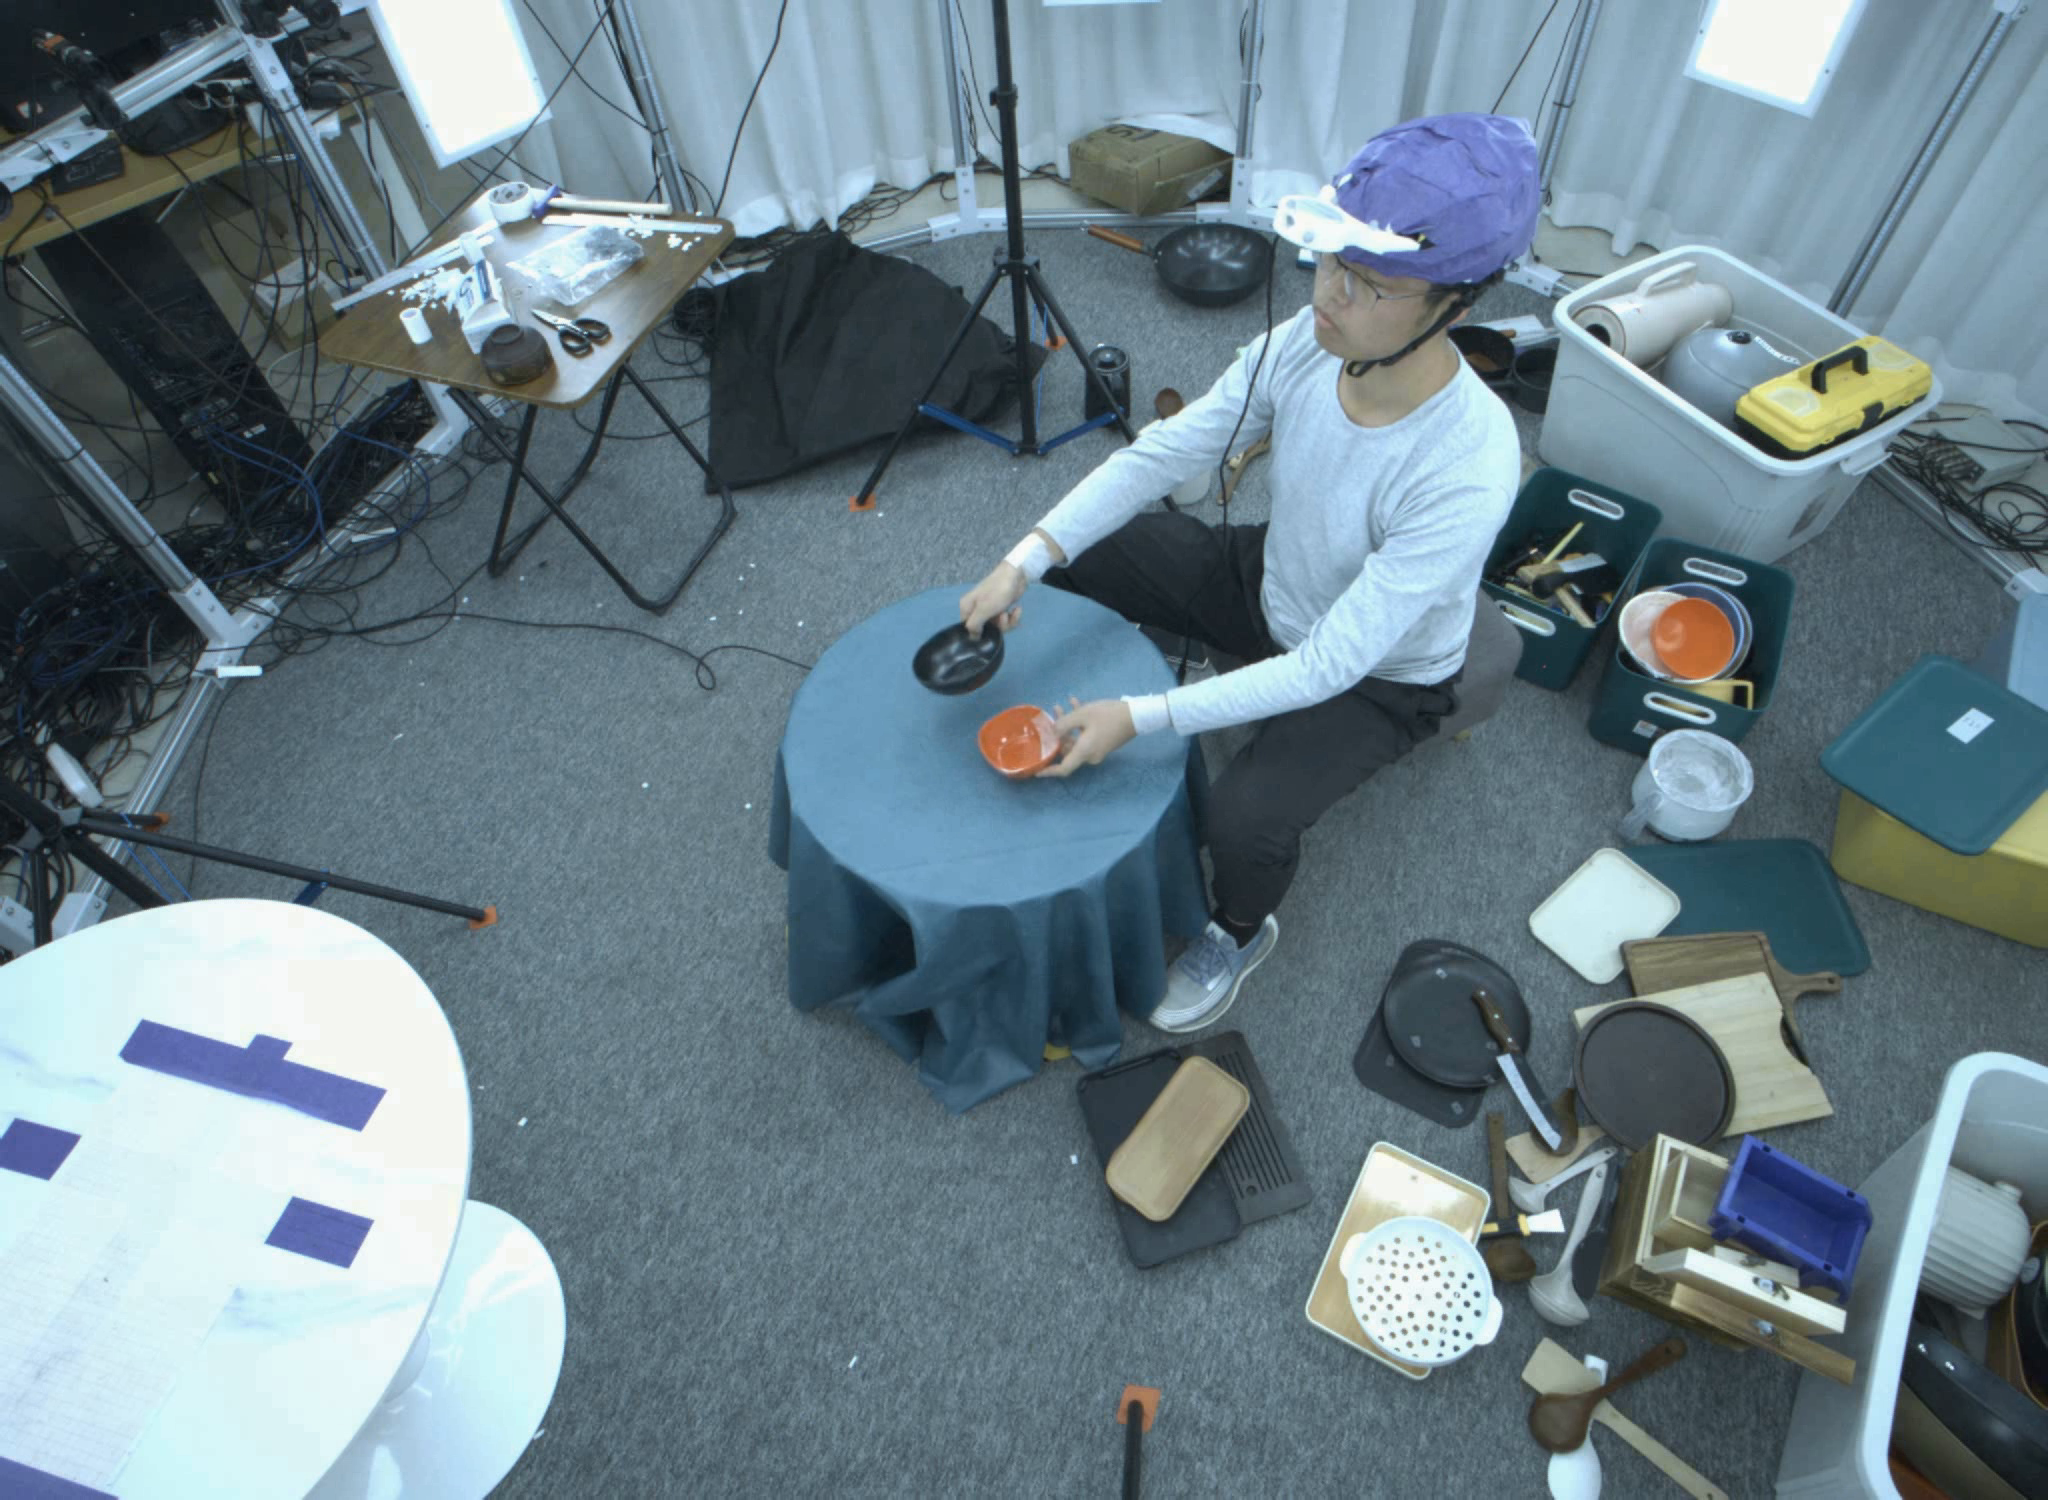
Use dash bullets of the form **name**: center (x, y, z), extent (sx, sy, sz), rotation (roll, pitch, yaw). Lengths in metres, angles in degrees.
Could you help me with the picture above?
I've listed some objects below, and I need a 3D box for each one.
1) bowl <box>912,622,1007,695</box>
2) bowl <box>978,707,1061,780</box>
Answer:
- **bowl**: center (-0.087, -0.122, 1.746), extent (0.139, 0.050, 0.138), rotation (-10, 39, 10)
- **bowl**: center (-0.005, -0.002, 1.747), extent (0.118, 0.052, 0.117), rotation (-2, 52, 4)
